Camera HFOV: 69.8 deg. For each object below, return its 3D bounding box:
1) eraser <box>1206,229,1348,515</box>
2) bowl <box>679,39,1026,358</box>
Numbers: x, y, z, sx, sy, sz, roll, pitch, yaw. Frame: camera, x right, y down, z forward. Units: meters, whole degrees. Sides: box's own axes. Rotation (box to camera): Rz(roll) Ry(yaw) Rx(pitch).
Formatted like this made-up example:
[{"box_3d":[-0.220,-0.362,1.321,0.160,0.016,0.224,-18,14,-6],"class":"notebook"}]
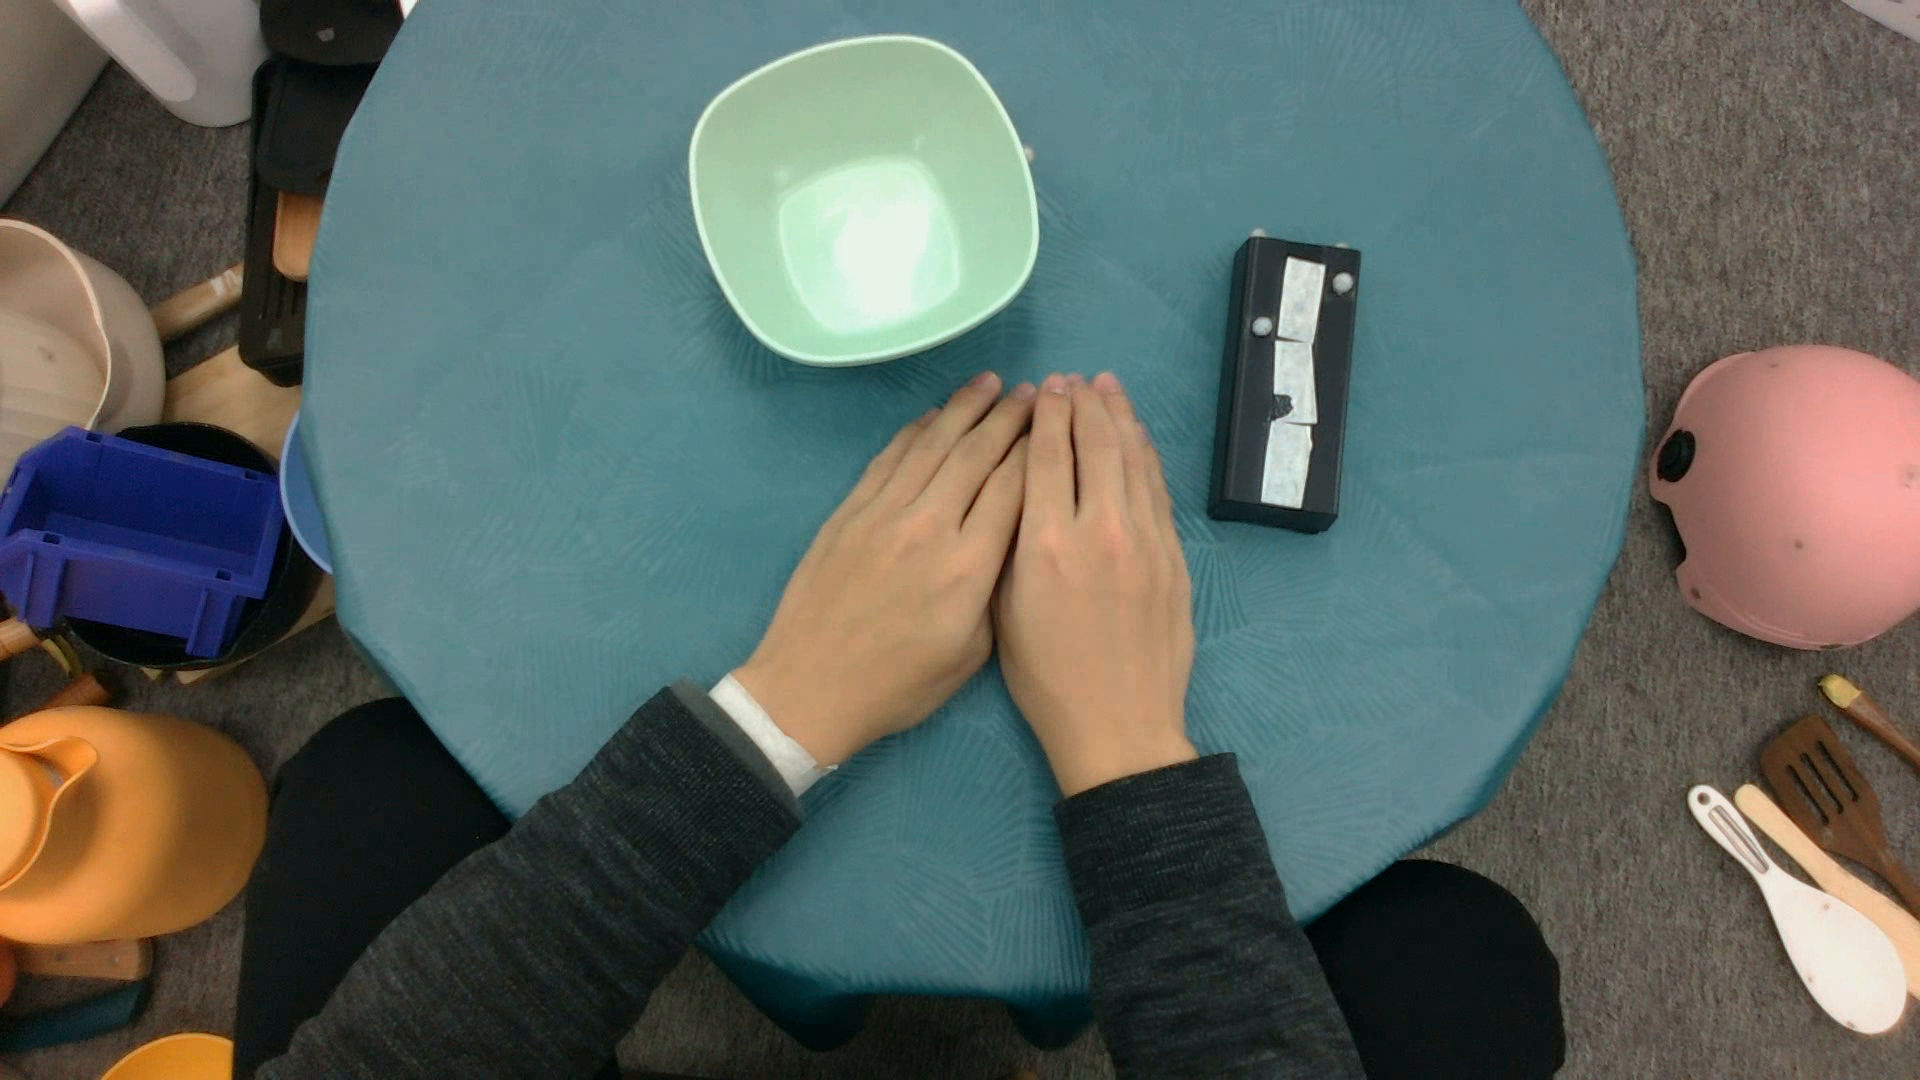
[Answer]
[{"box_3d":[0.139,-0.074,0.606,0.053,0.030,0.126,6,78,2],"class":"eraser"},{"box_3d":[-0.046,-0.138,0.597,0.151,0.058,0.152,1,76,-2],"class":"bowl"}]
